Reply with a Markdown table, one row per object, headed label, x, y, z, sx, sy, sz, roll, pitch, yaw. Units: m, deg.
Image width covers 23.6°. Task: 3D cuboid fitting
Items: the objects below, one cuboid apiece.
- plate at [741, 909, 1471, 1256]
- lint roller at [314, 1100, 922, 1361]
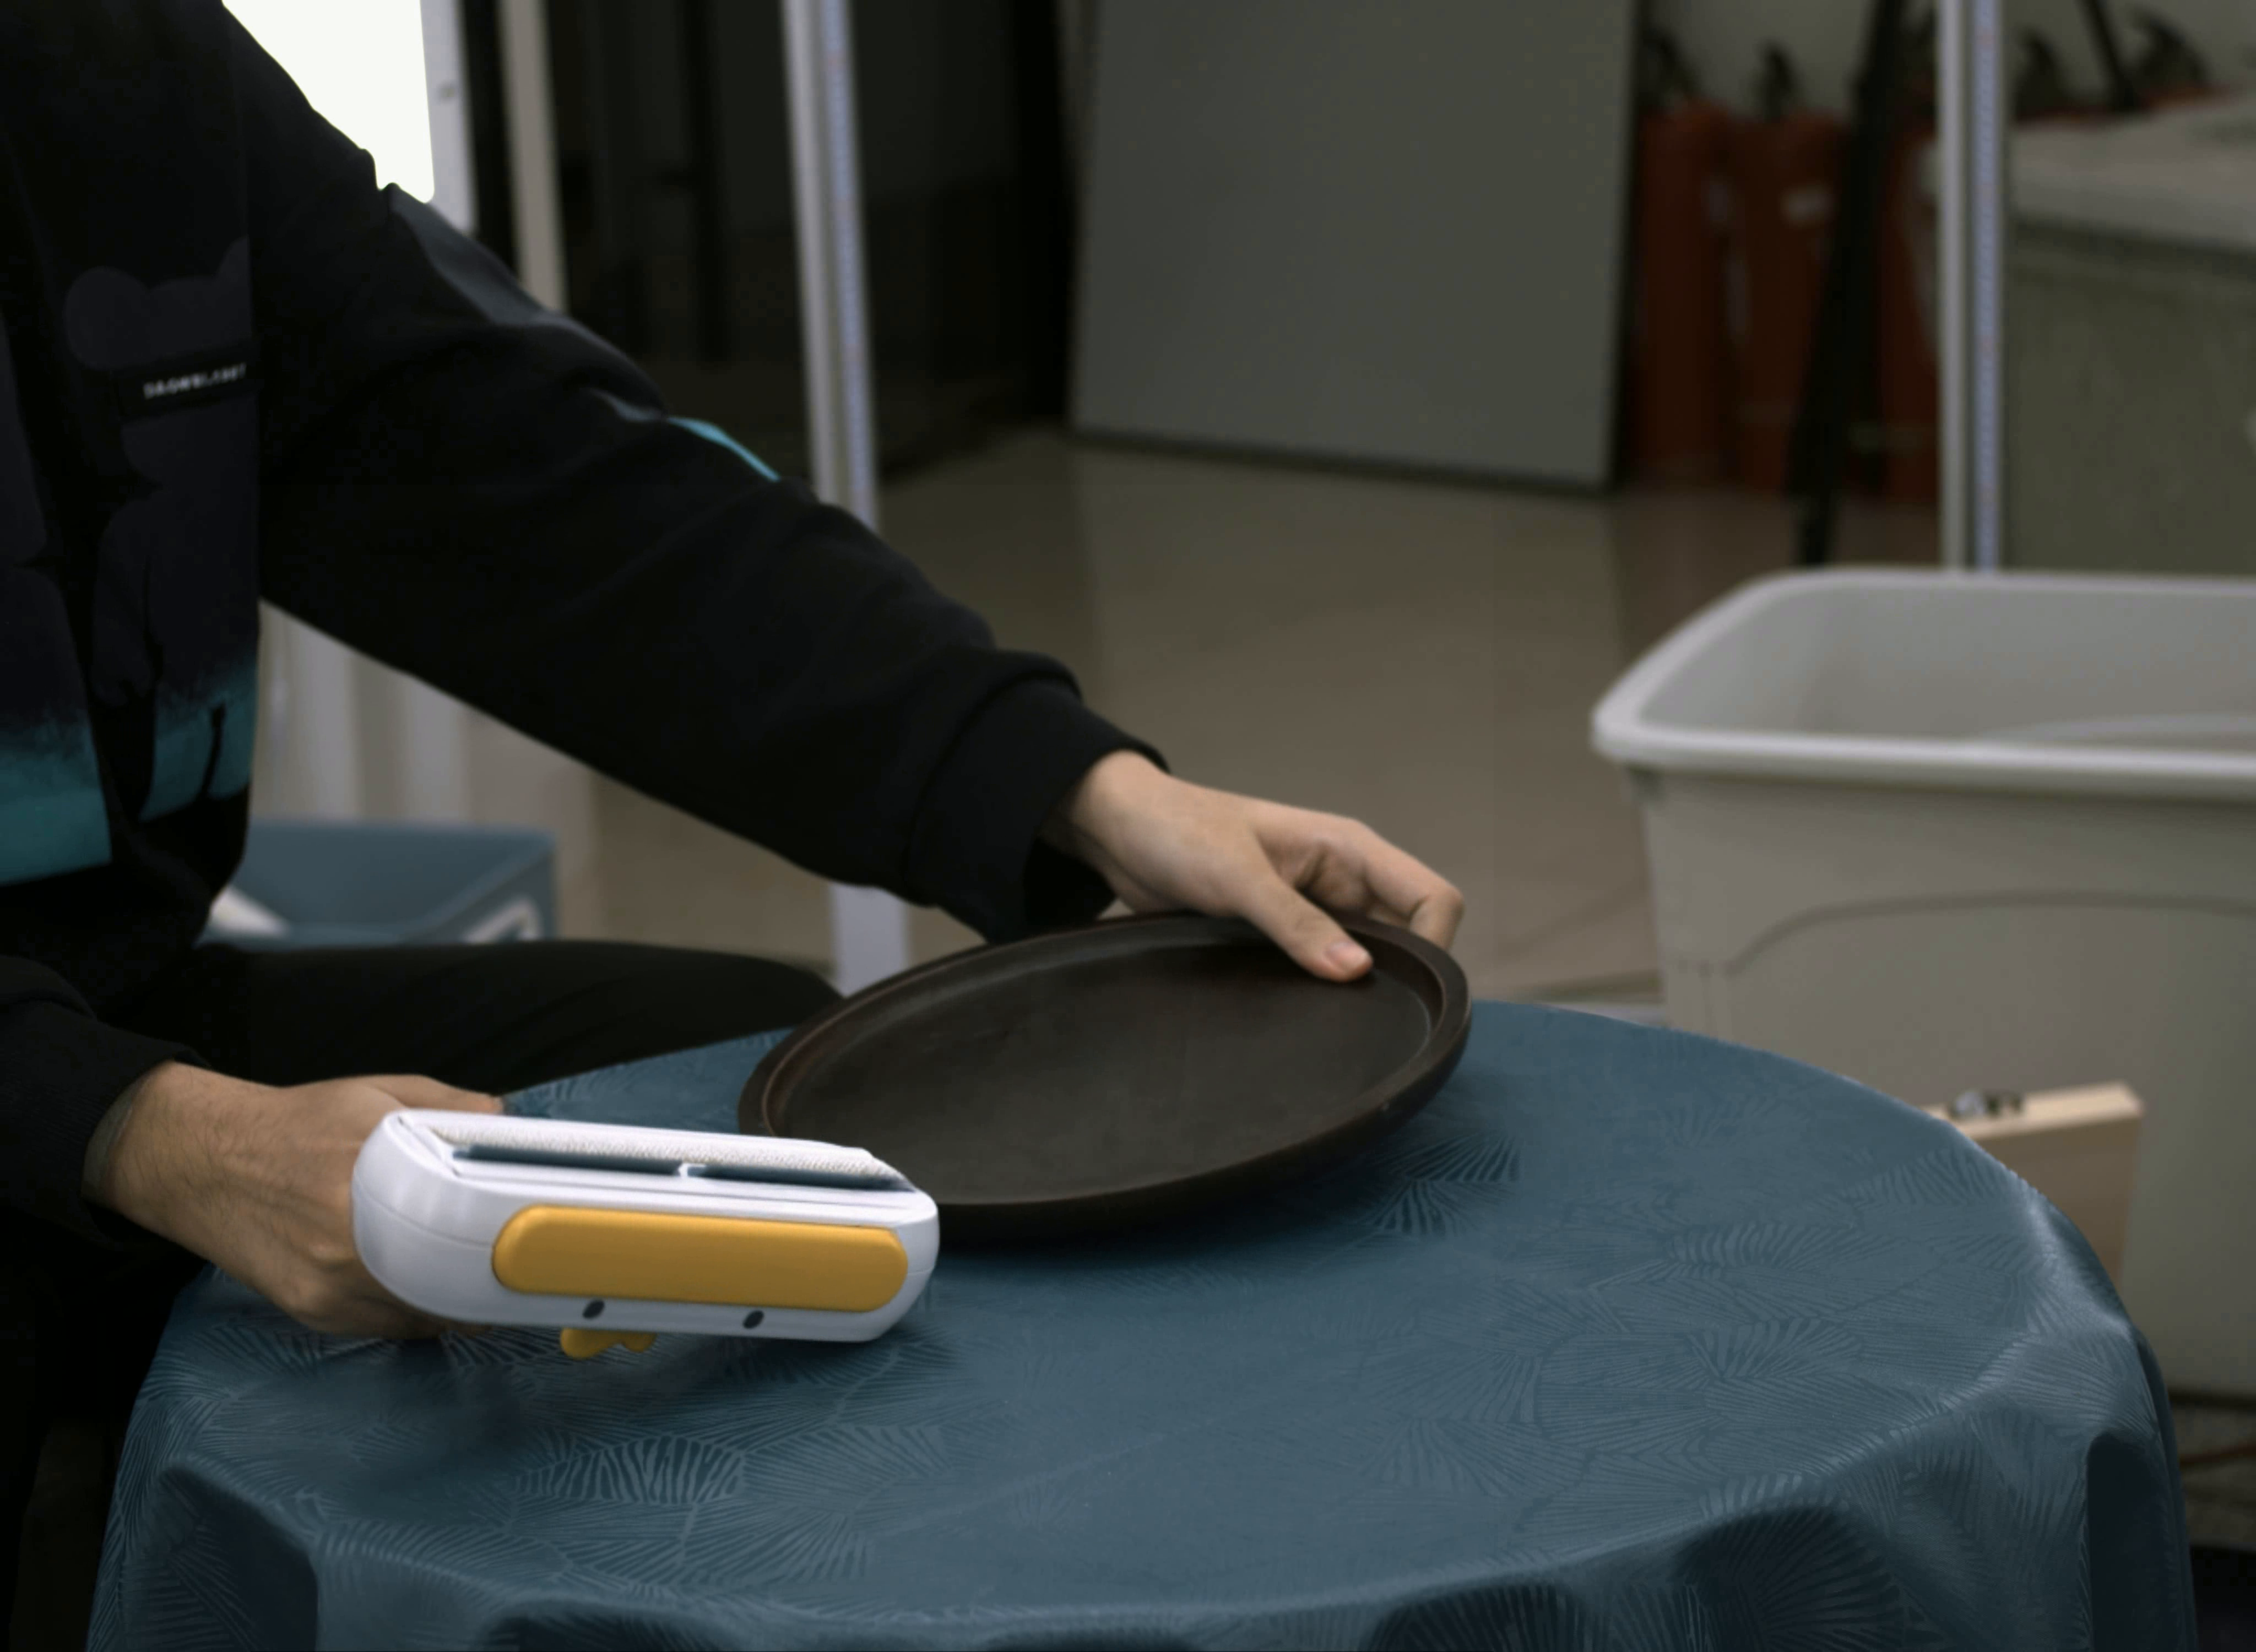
| label | x | y | z | sx | sy | sz | roll | pitch | yaw |
| --- | --- | --- | --- | --- | --- | --- | --- | --- | --- |
| plate | -0.007 | 0.084 | 1.813 | 0.252 | 0.029 | 0.255 | -12 | 17 | 3 |
| lint roller | -0.180 | 0.114 | 1.660 | 0.188 | 0.075 | 0.194 | 4 | 10 | -32 |
